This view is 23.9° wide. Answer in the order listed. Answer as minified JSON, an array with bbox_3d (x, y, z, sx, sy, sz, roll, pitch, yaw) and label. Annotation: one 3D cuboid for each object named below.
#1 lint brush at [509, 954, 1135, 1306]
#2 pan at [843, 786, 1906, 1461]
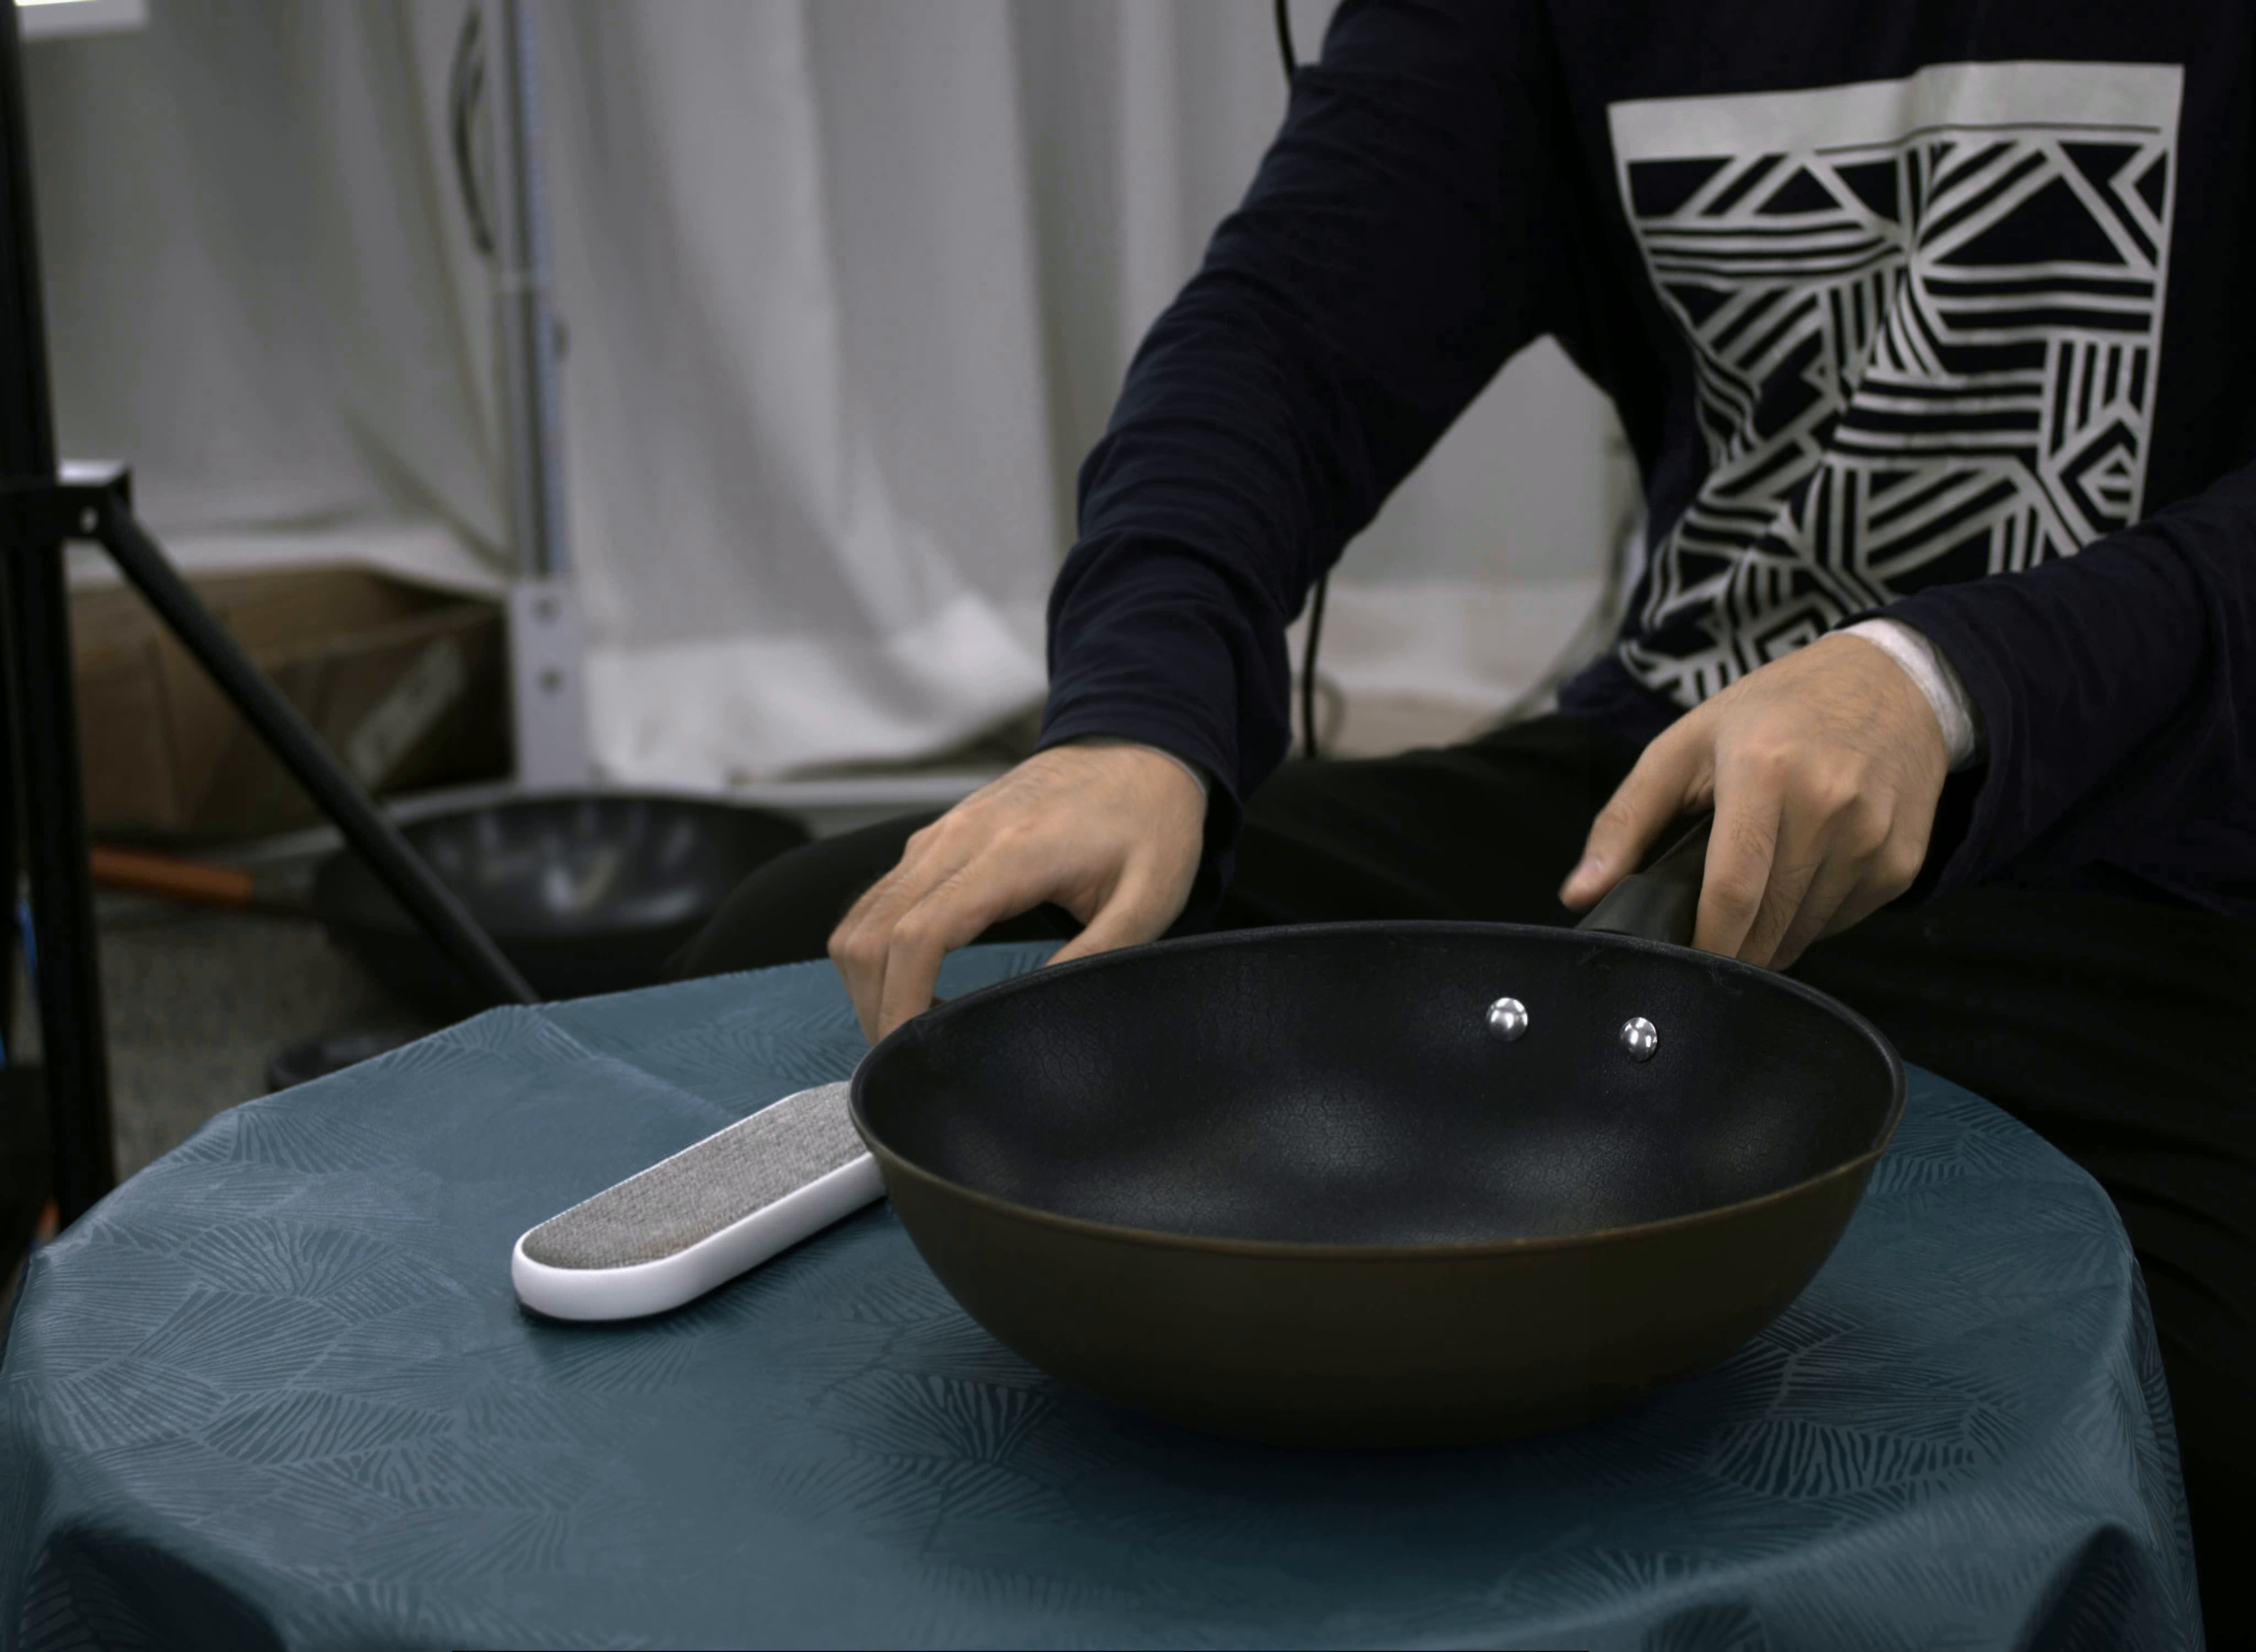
[{"bbox_3d":[-0.079,0.088,1.591,0.061,0.021,0.303,-1,15,33],"label":"lint brush"},{"bbox_3d":[0.110,0.080,1.492,0.293,0.087,0.455,7,18,29],"label":"pan"}]
